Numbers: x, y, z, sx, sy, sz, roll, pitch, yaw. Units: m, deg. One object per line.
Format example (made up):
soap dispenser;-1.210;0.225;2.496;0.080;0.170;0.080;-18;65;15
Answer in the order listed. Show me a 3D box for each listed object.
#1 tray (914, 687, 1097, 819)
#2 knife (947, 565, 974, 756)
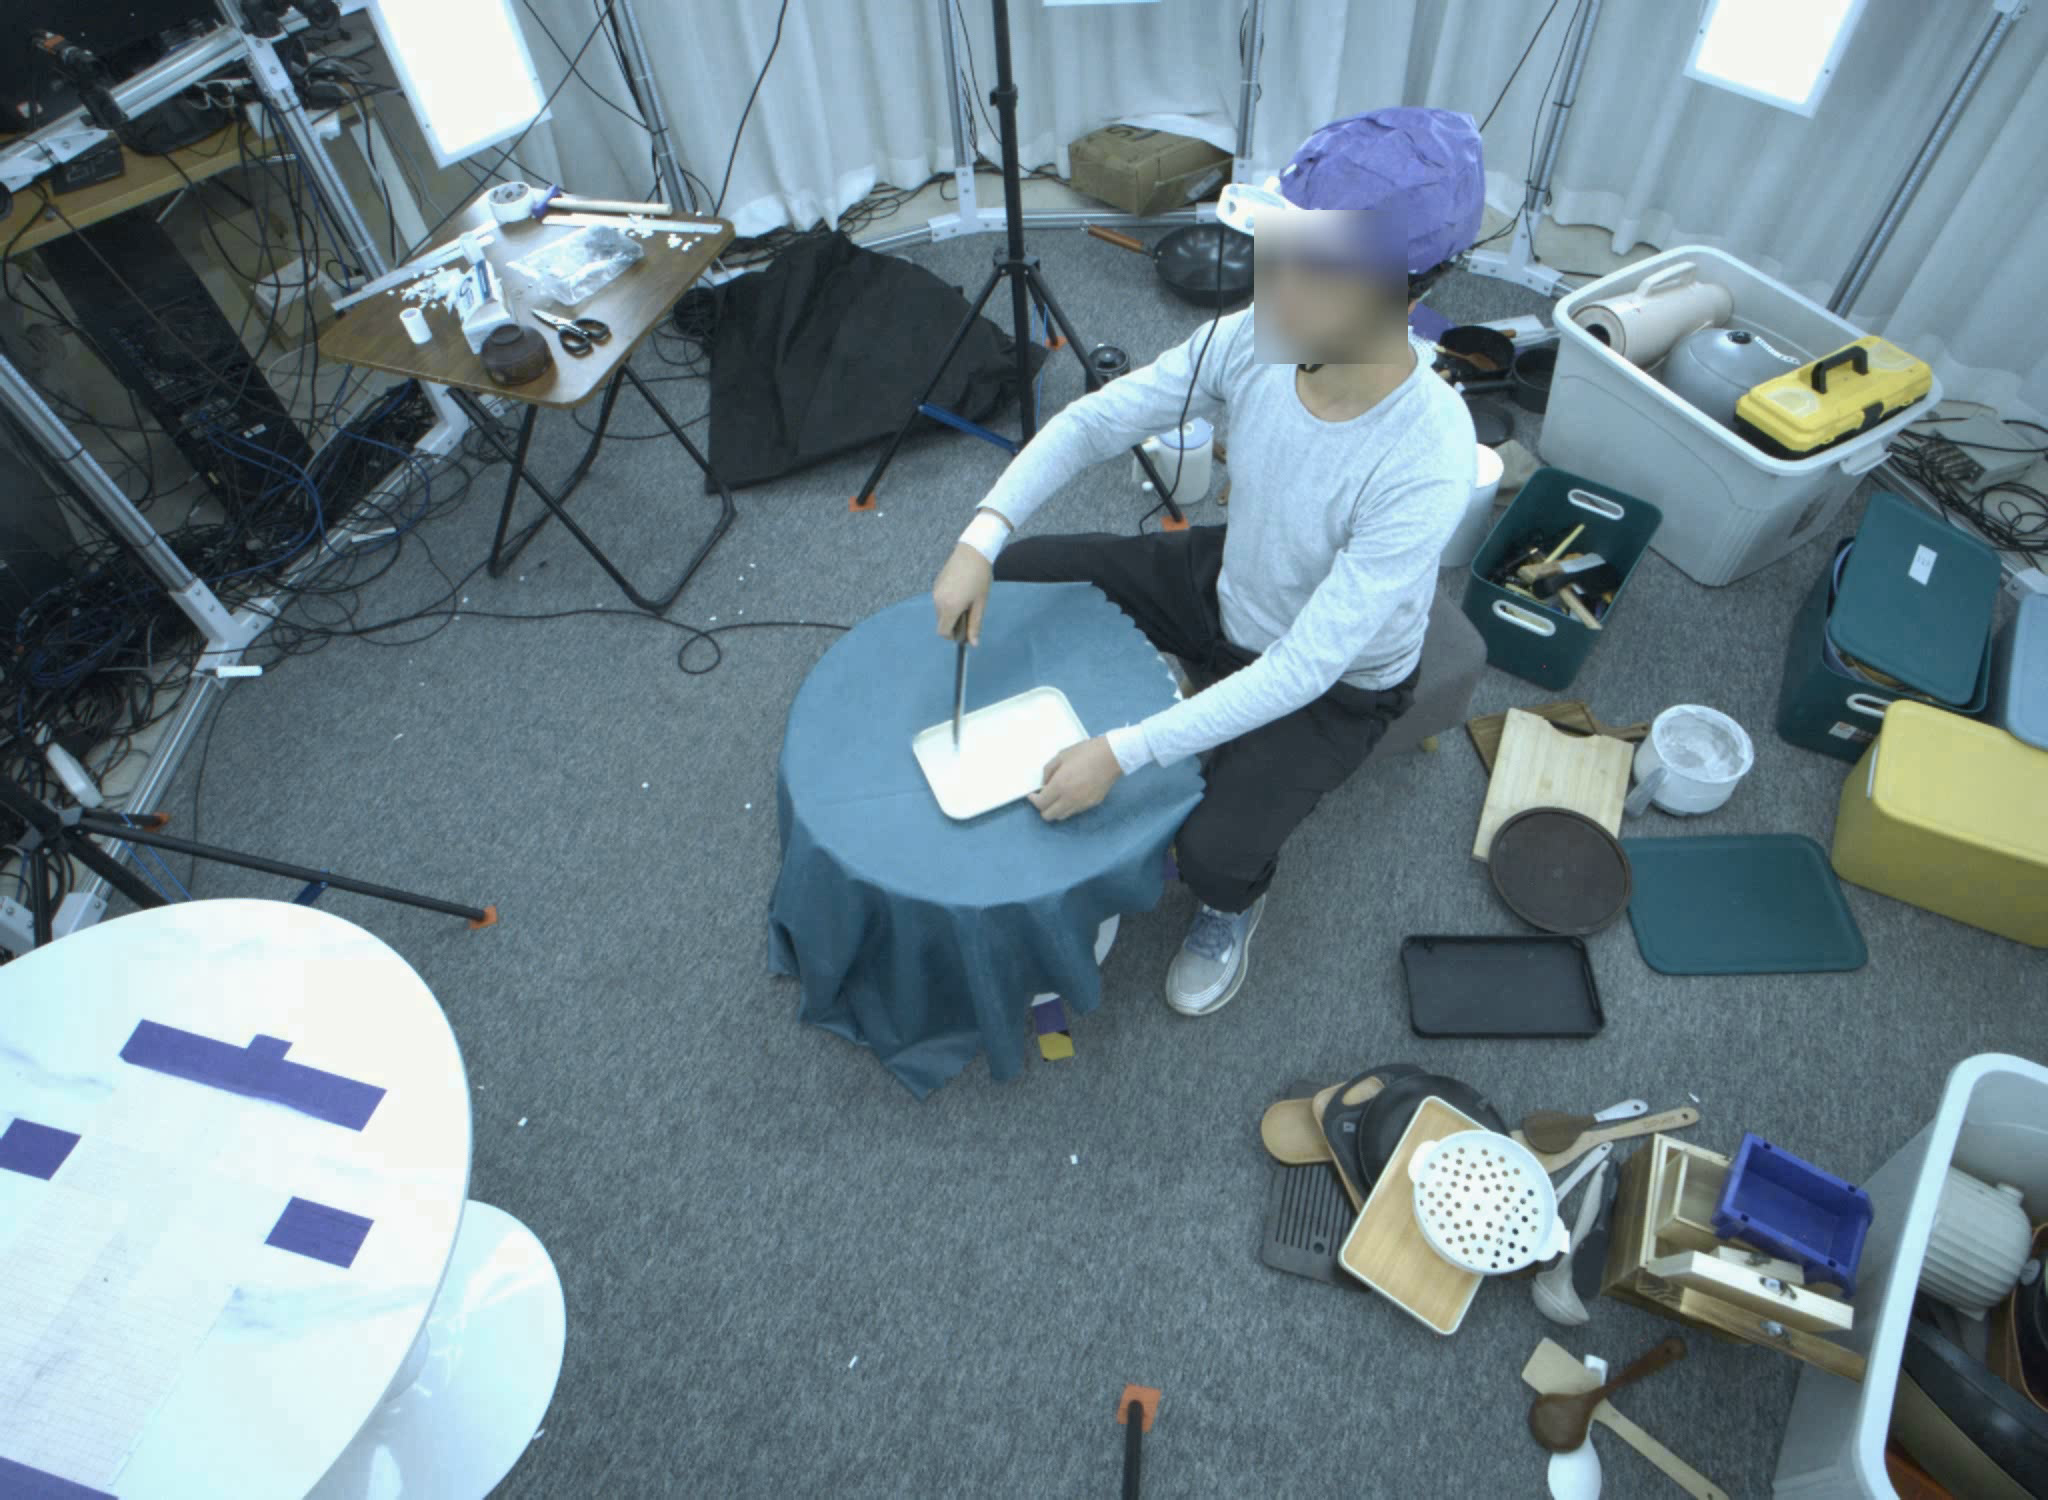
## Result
tray;-0.028;0.003;1.782;0.241;0.017;0.168;-20;56;-13
knife;-0.094;-0.131;1.777;0.020;0.051;0.287;-1;76;16
